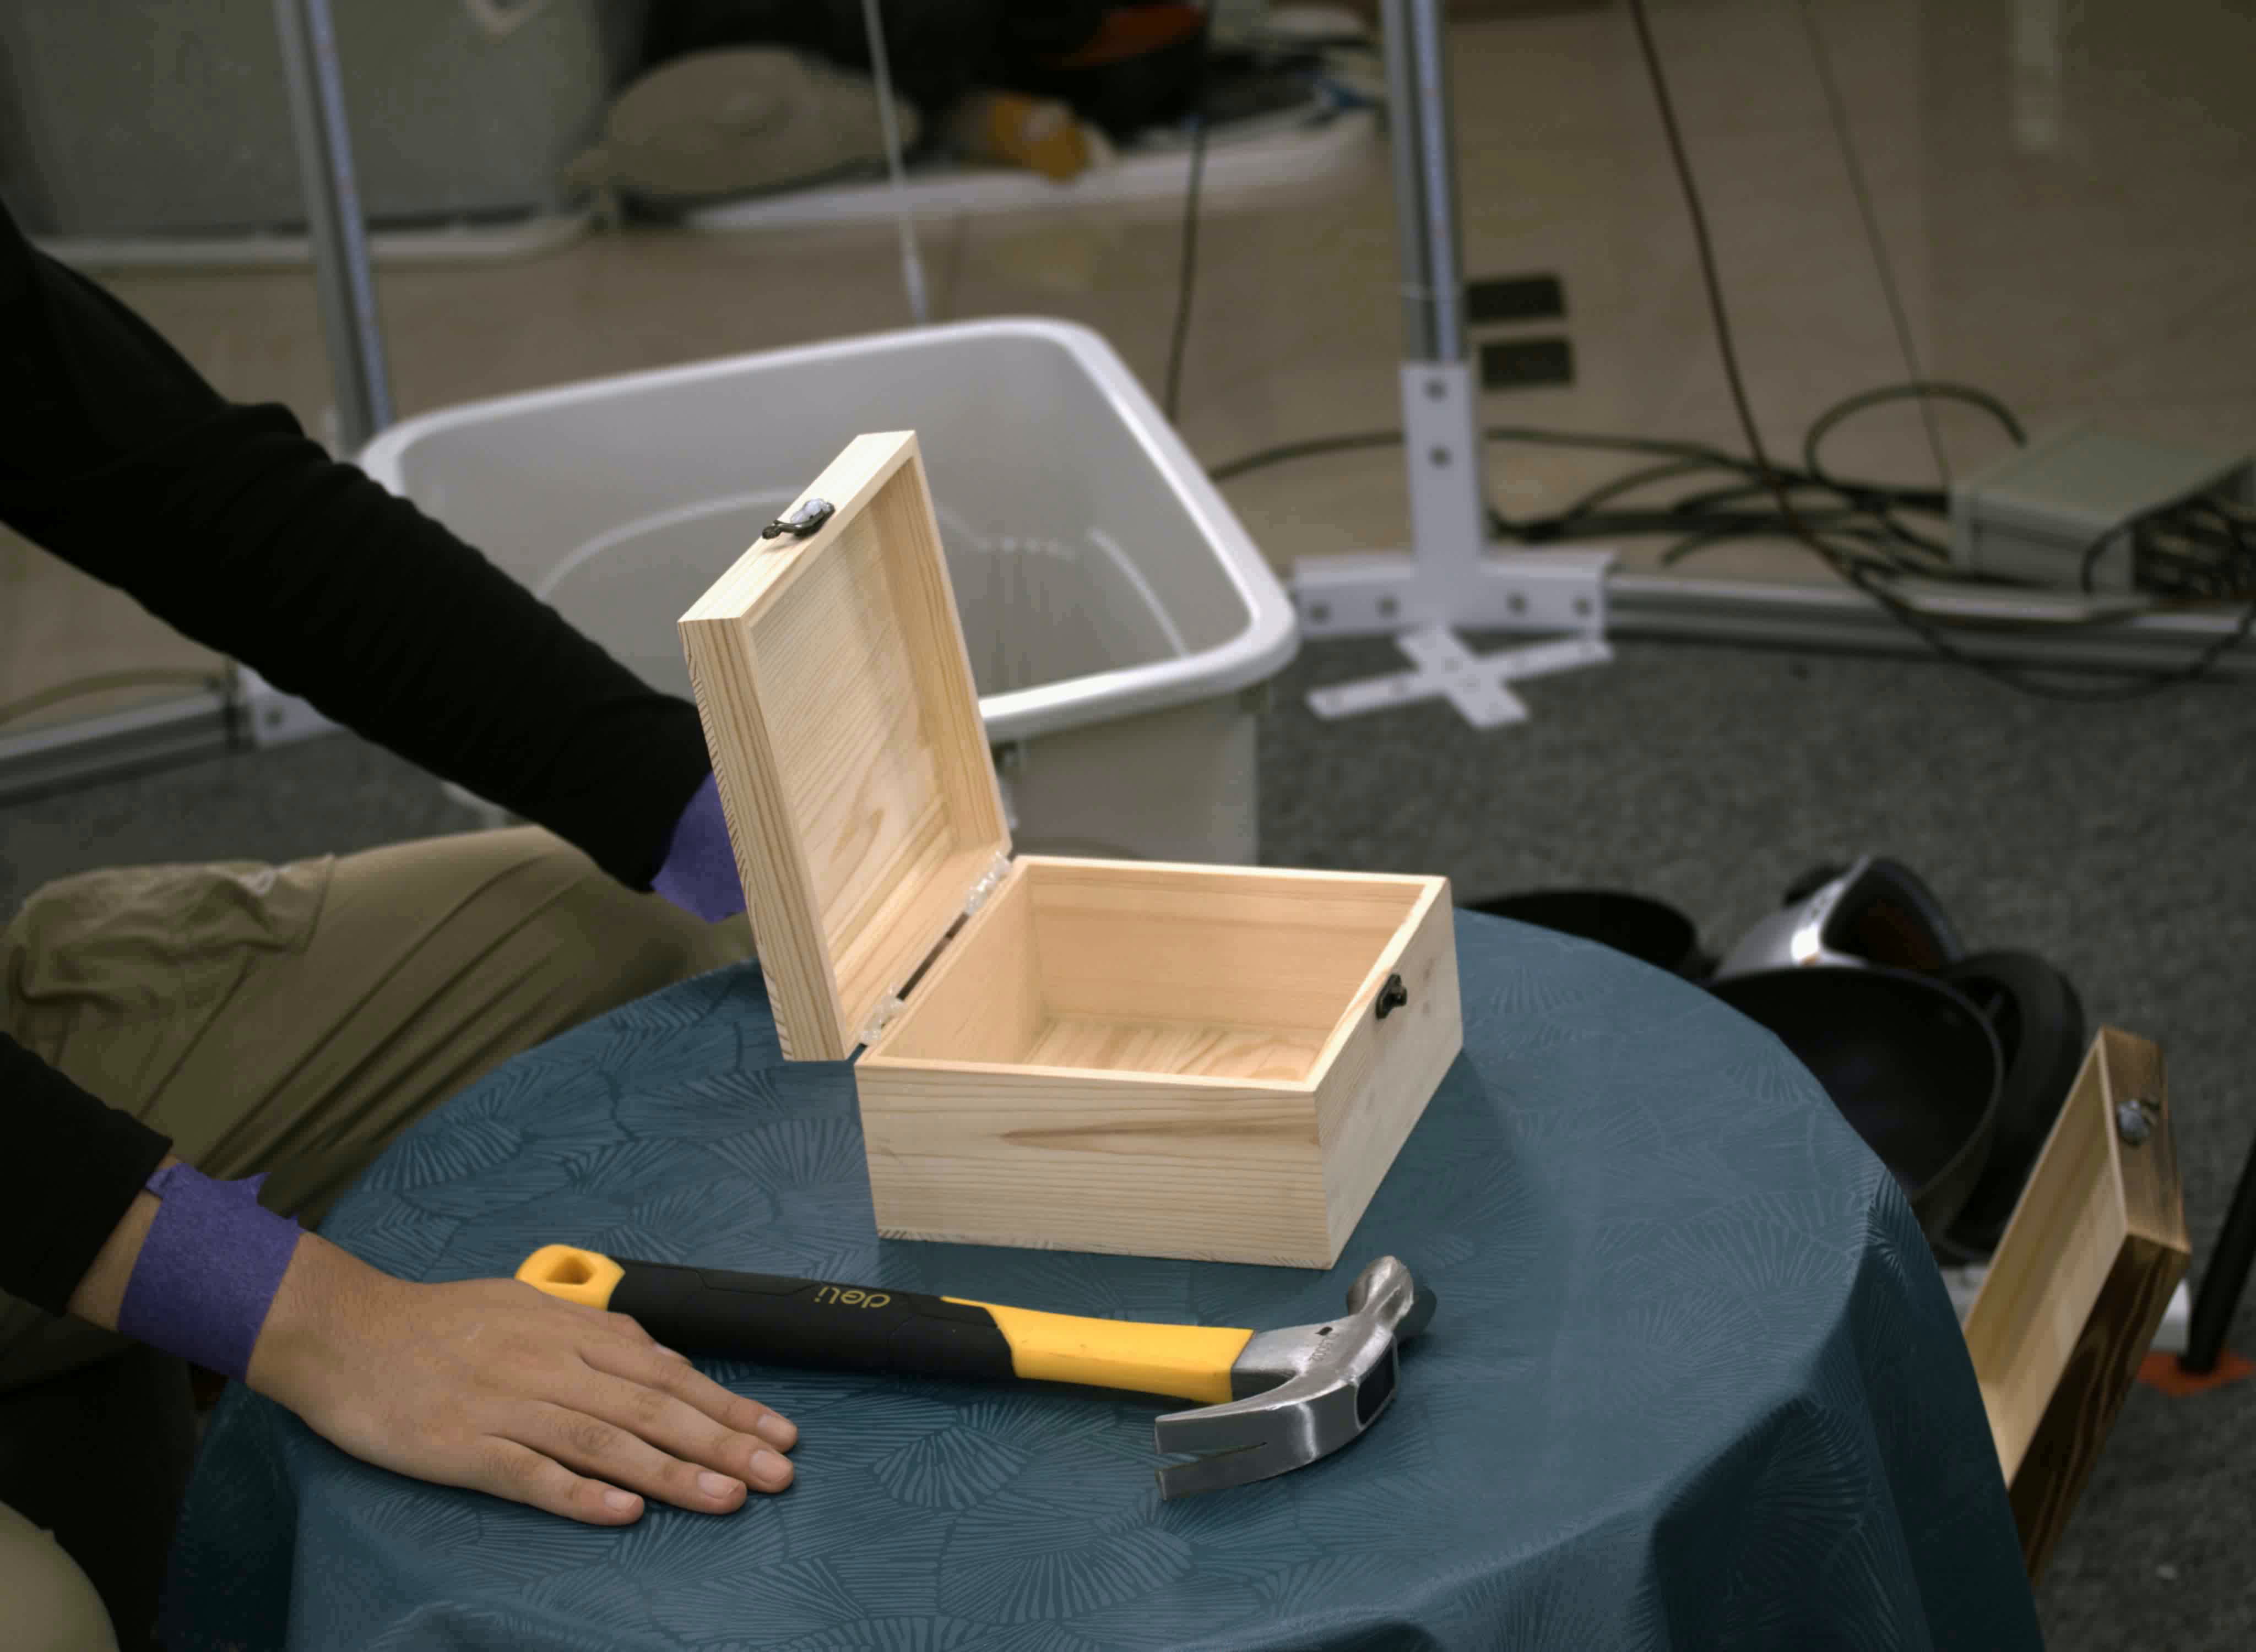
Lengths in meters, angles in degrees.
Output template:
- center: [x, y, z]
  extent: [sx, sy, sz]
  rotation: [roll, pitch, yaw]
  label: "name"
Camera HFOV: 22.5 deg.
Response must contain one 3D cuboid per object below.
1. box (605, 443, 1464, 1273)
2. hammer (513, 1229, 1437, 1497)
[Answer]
- center: [-0.025, 0.008, 2.139]
  extent: [0.264, 0.257, 0.179]
  rotation: [3, 29, 19]
  label: "box"
- center: [-0.068, 0.179, 2.038]
  extent: [0.337, 0.033, 0.130]
  rotation: [6, 27, 23]
  label: "hammer"
